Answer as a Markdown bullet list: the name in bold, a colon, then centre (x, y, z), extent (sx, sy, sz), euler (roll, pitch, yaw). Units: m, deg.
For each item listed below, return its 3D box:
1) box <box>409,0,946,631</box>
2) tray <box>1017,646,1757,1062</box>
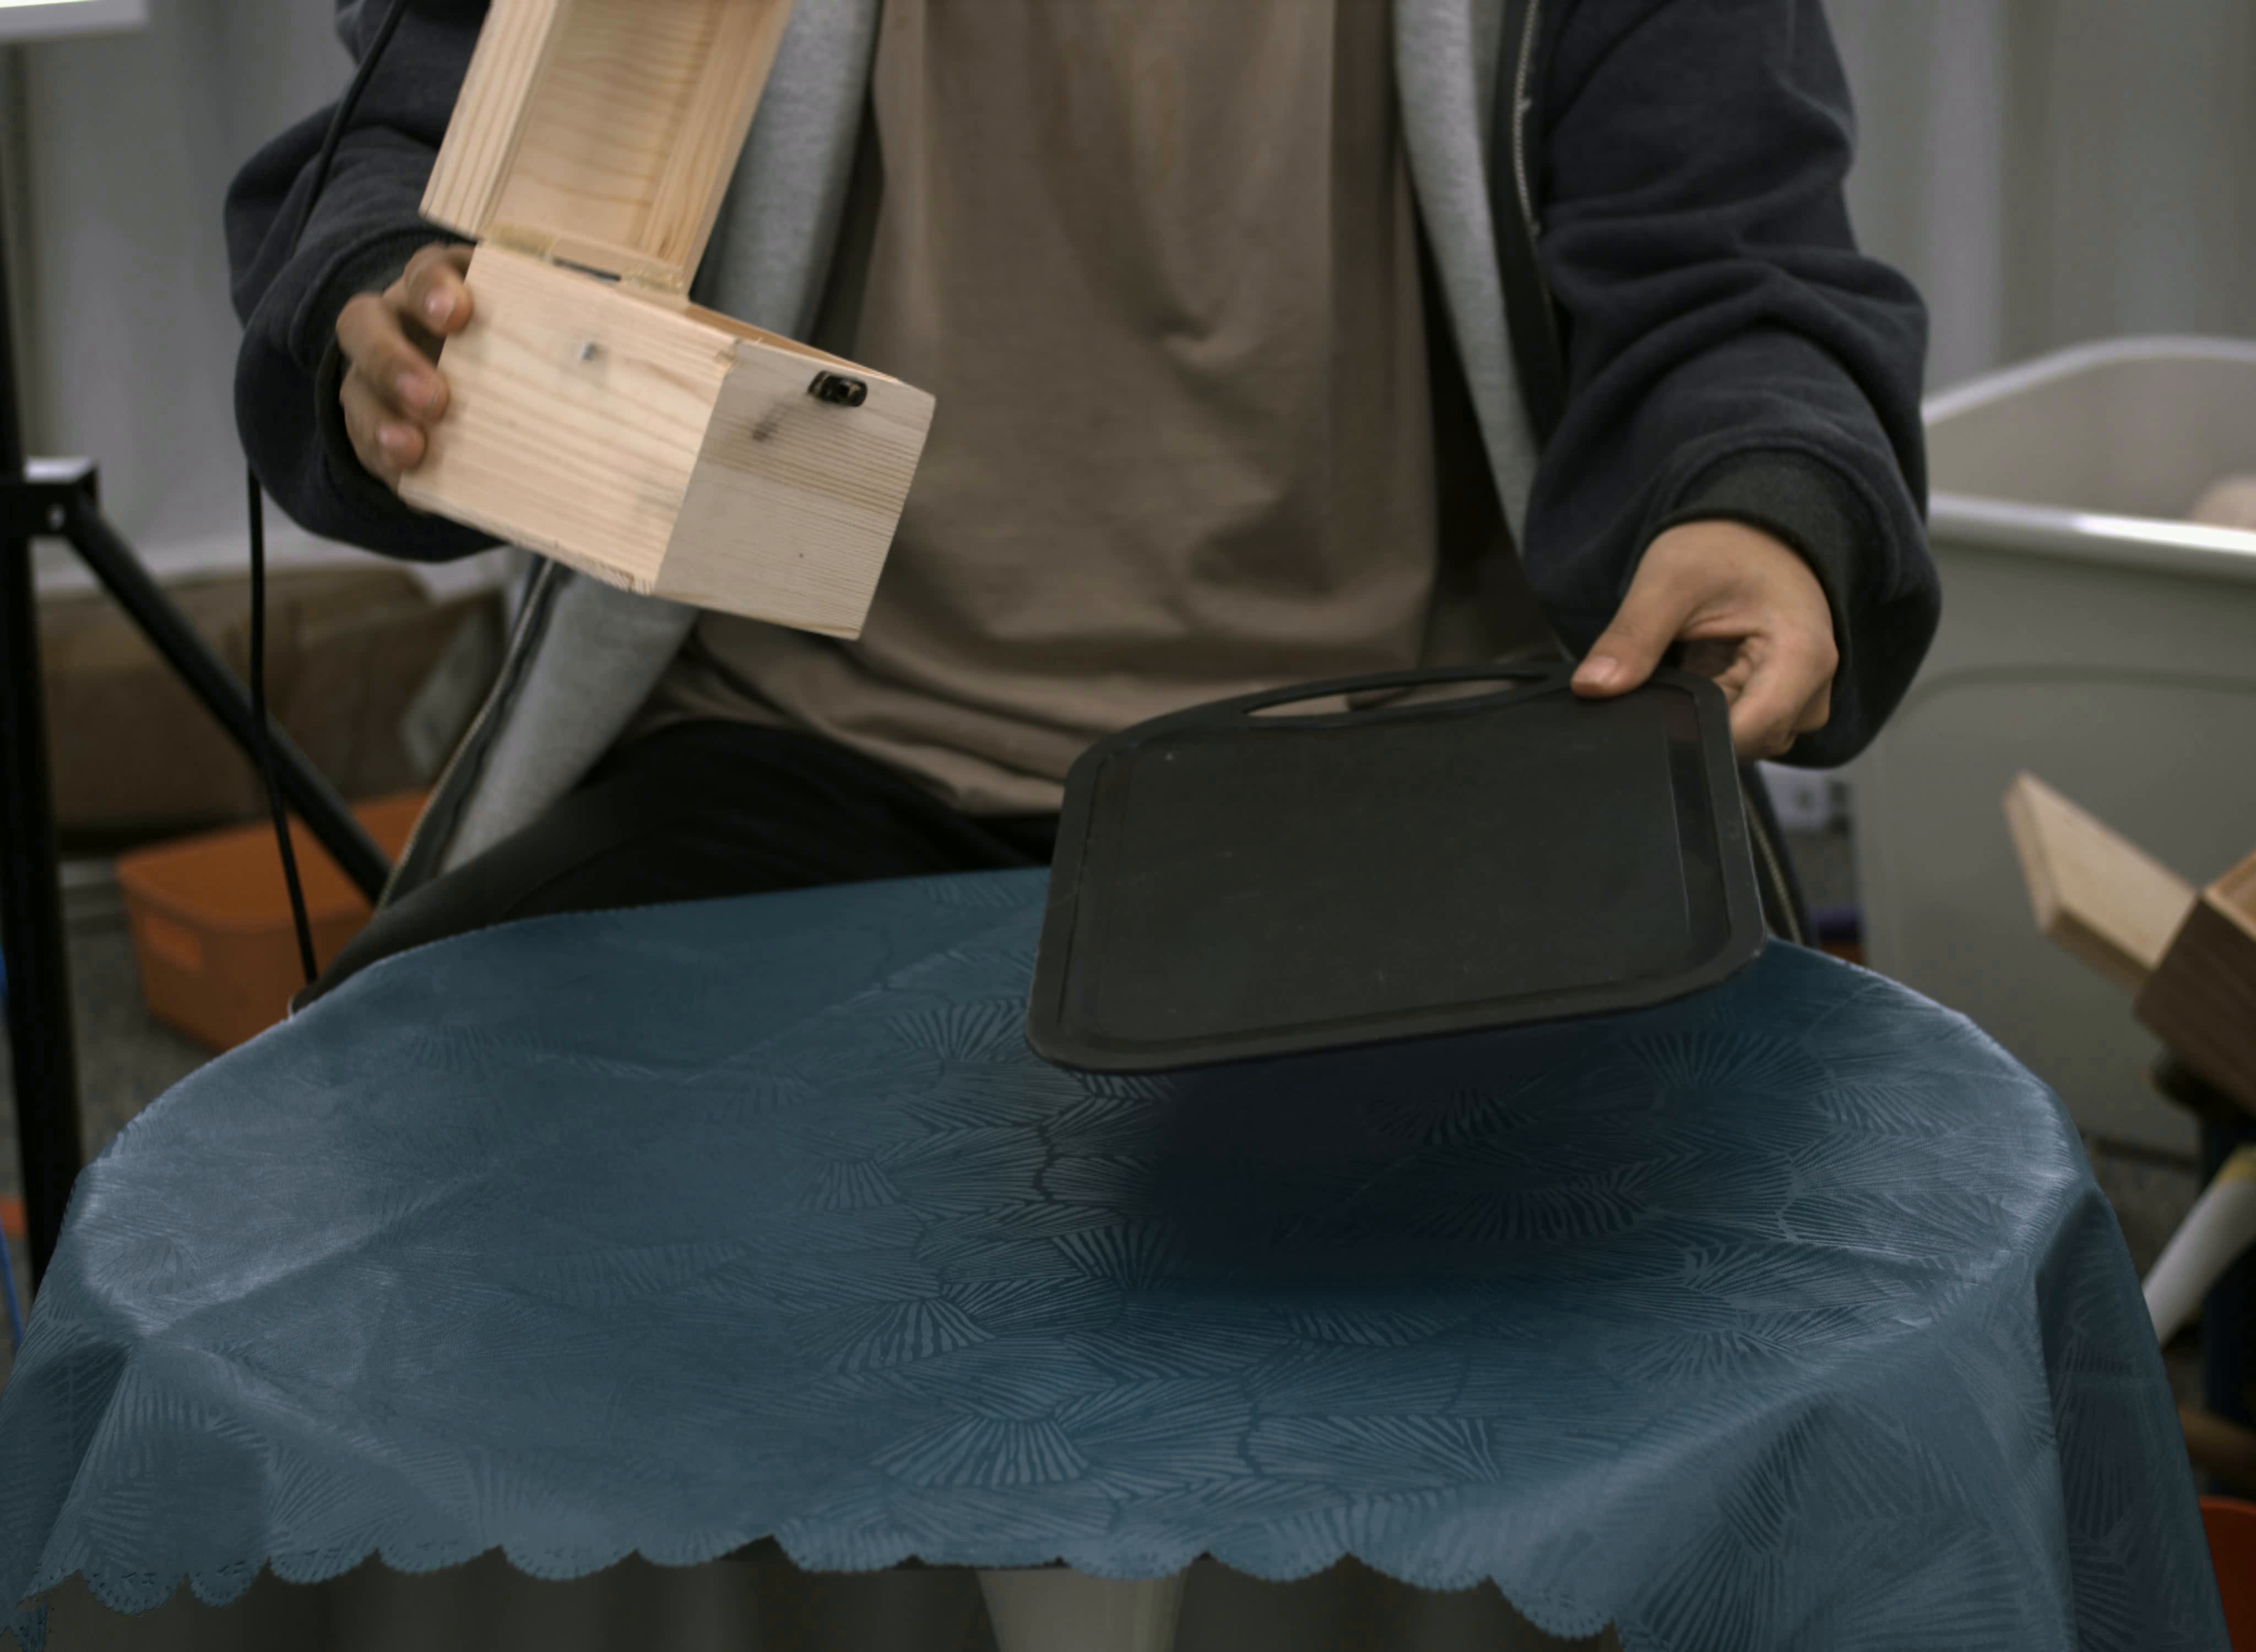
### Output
- **box**: centre (-0.120, -0.168, 1.555), extent (0.137, 0.185, 0.100), euler (23, 6, 34)
- **tray**: centre (0.078, 0.001, 1.590), extent (0.211, 0.010, 0.326), euler (-8, 19, 7)
